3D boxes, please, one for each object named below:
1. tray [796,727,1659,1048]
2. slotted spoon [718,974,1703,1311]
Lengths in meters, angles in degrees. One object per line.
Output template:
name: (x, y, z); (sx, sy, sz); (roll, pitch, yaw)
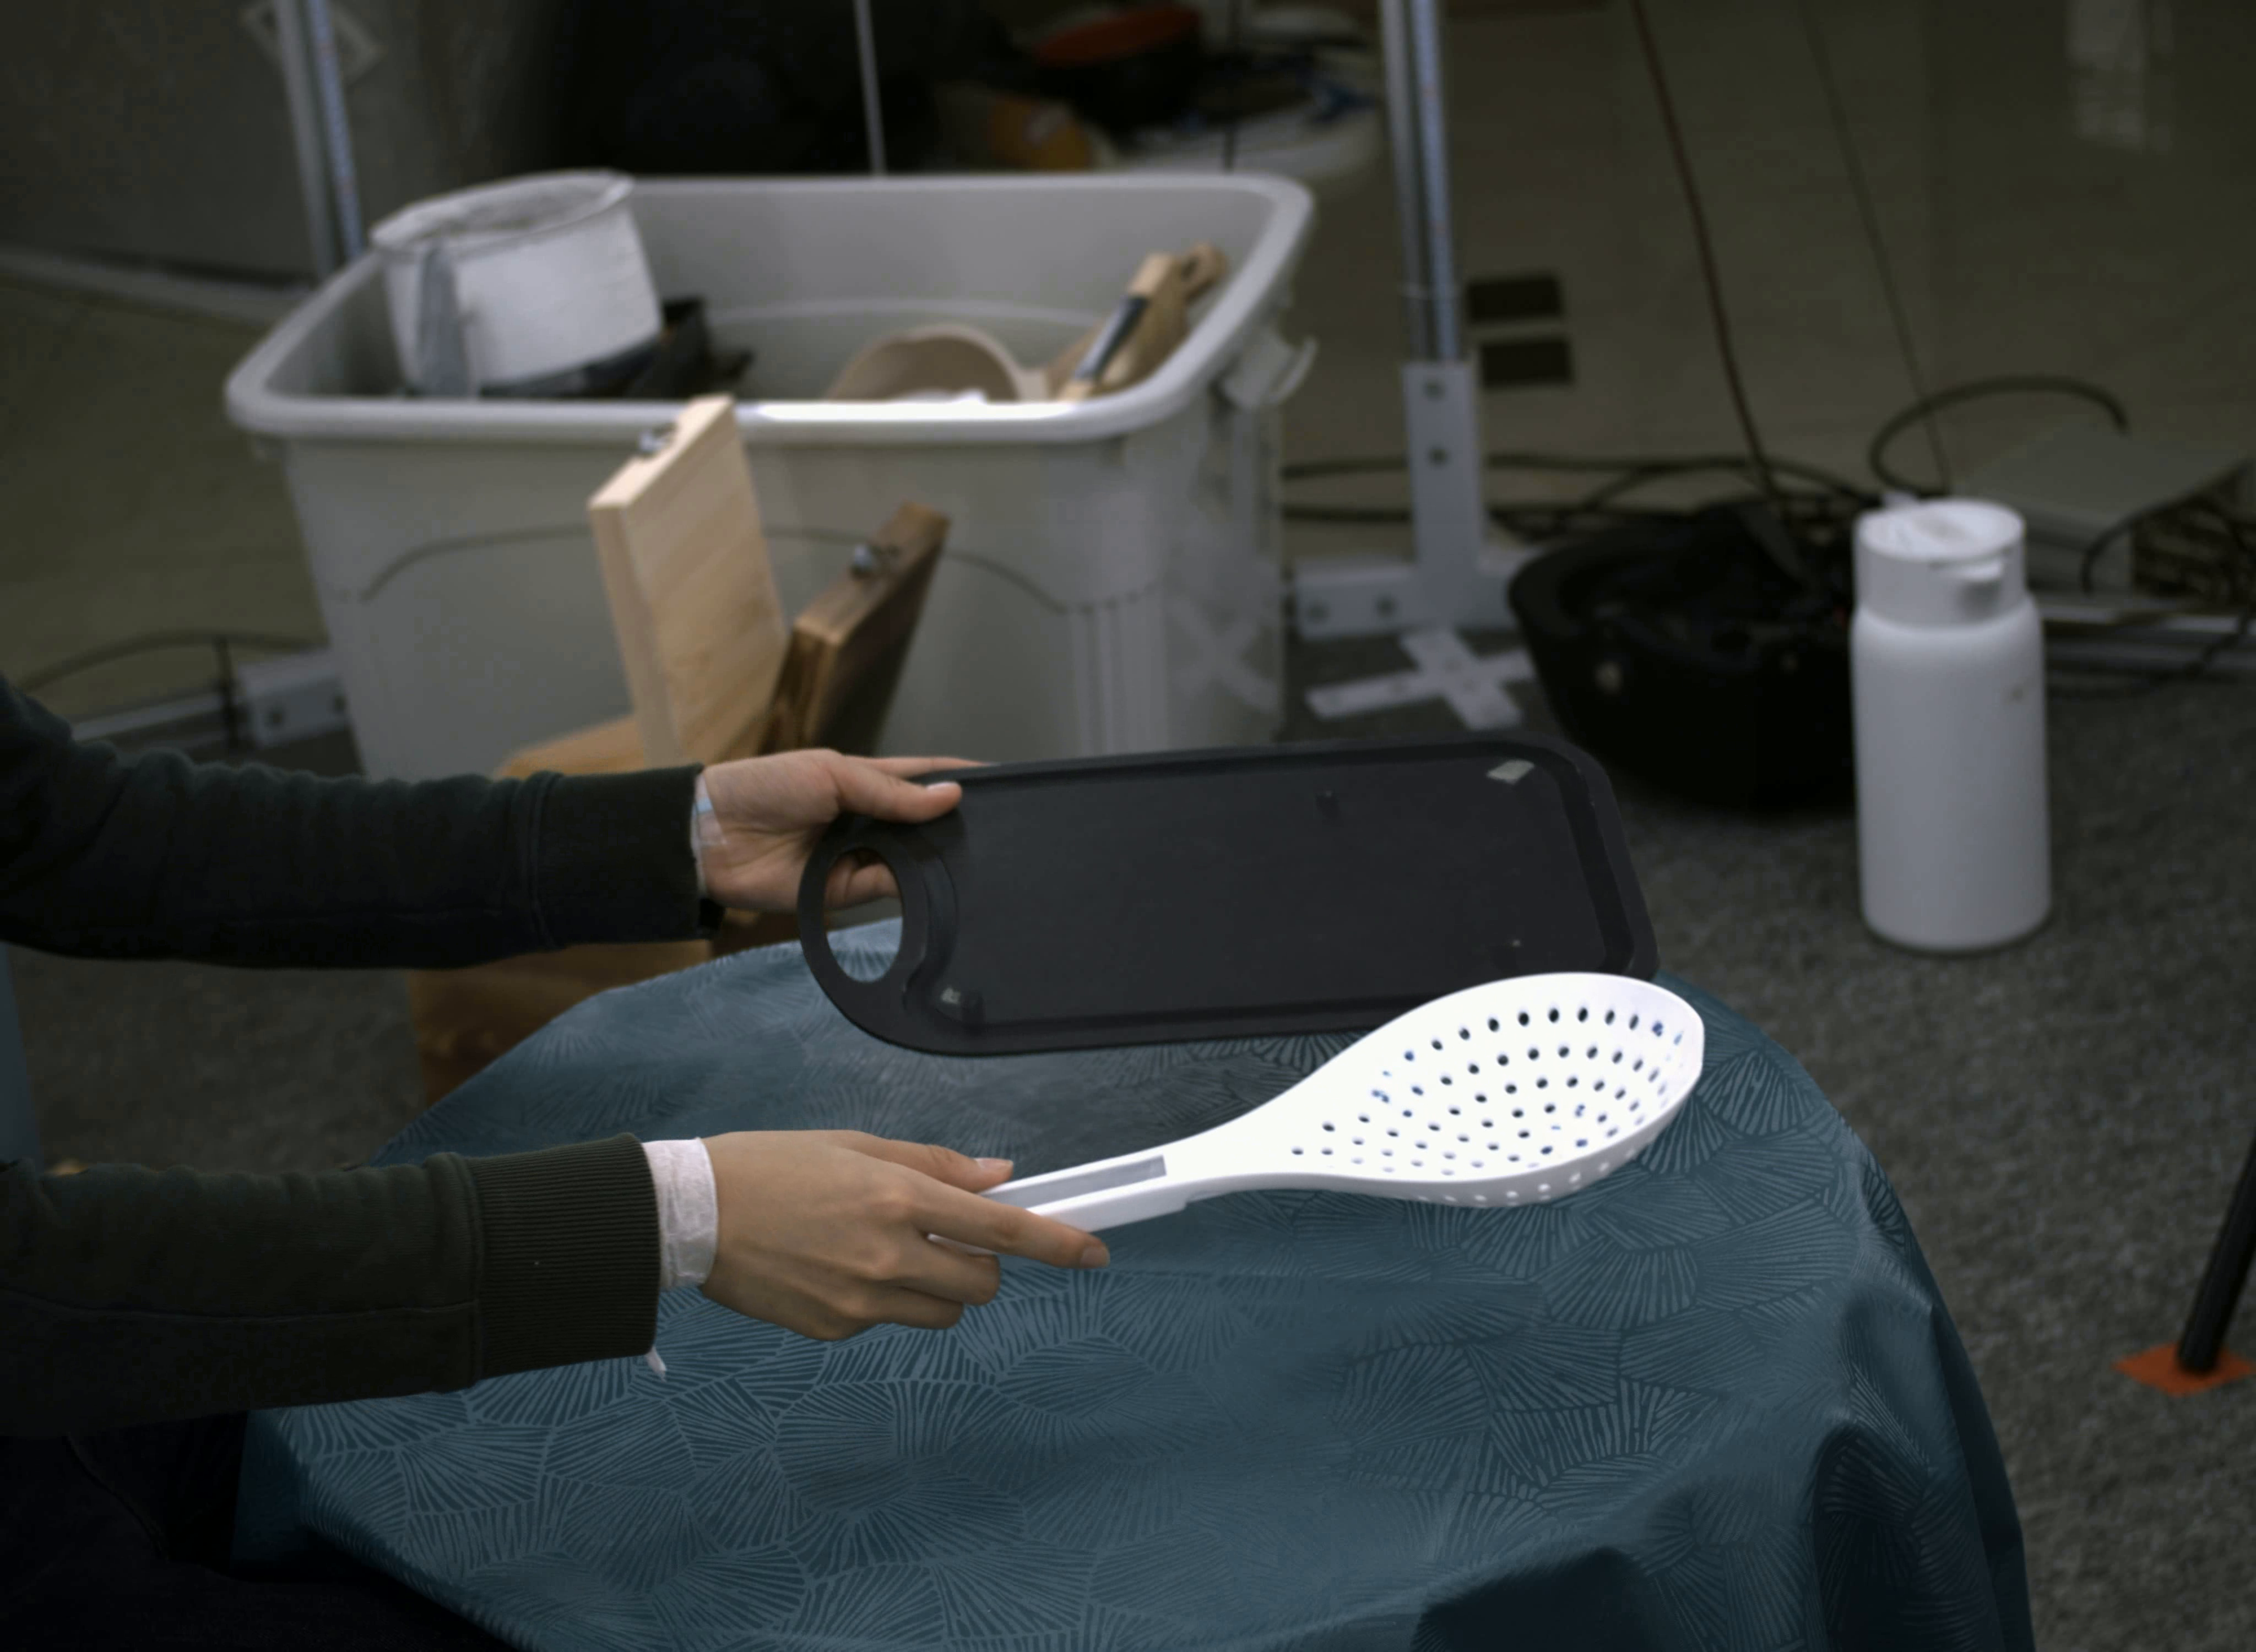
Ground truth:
tray: (0.034, 0.021, 2.181); (0.325, 0.010, 0.207); (-4, 31, -3)
slotted spoon: (0.028, 0.117, 1.964); (0.349, 0.046, 0.134); (-10, 25, 0)
